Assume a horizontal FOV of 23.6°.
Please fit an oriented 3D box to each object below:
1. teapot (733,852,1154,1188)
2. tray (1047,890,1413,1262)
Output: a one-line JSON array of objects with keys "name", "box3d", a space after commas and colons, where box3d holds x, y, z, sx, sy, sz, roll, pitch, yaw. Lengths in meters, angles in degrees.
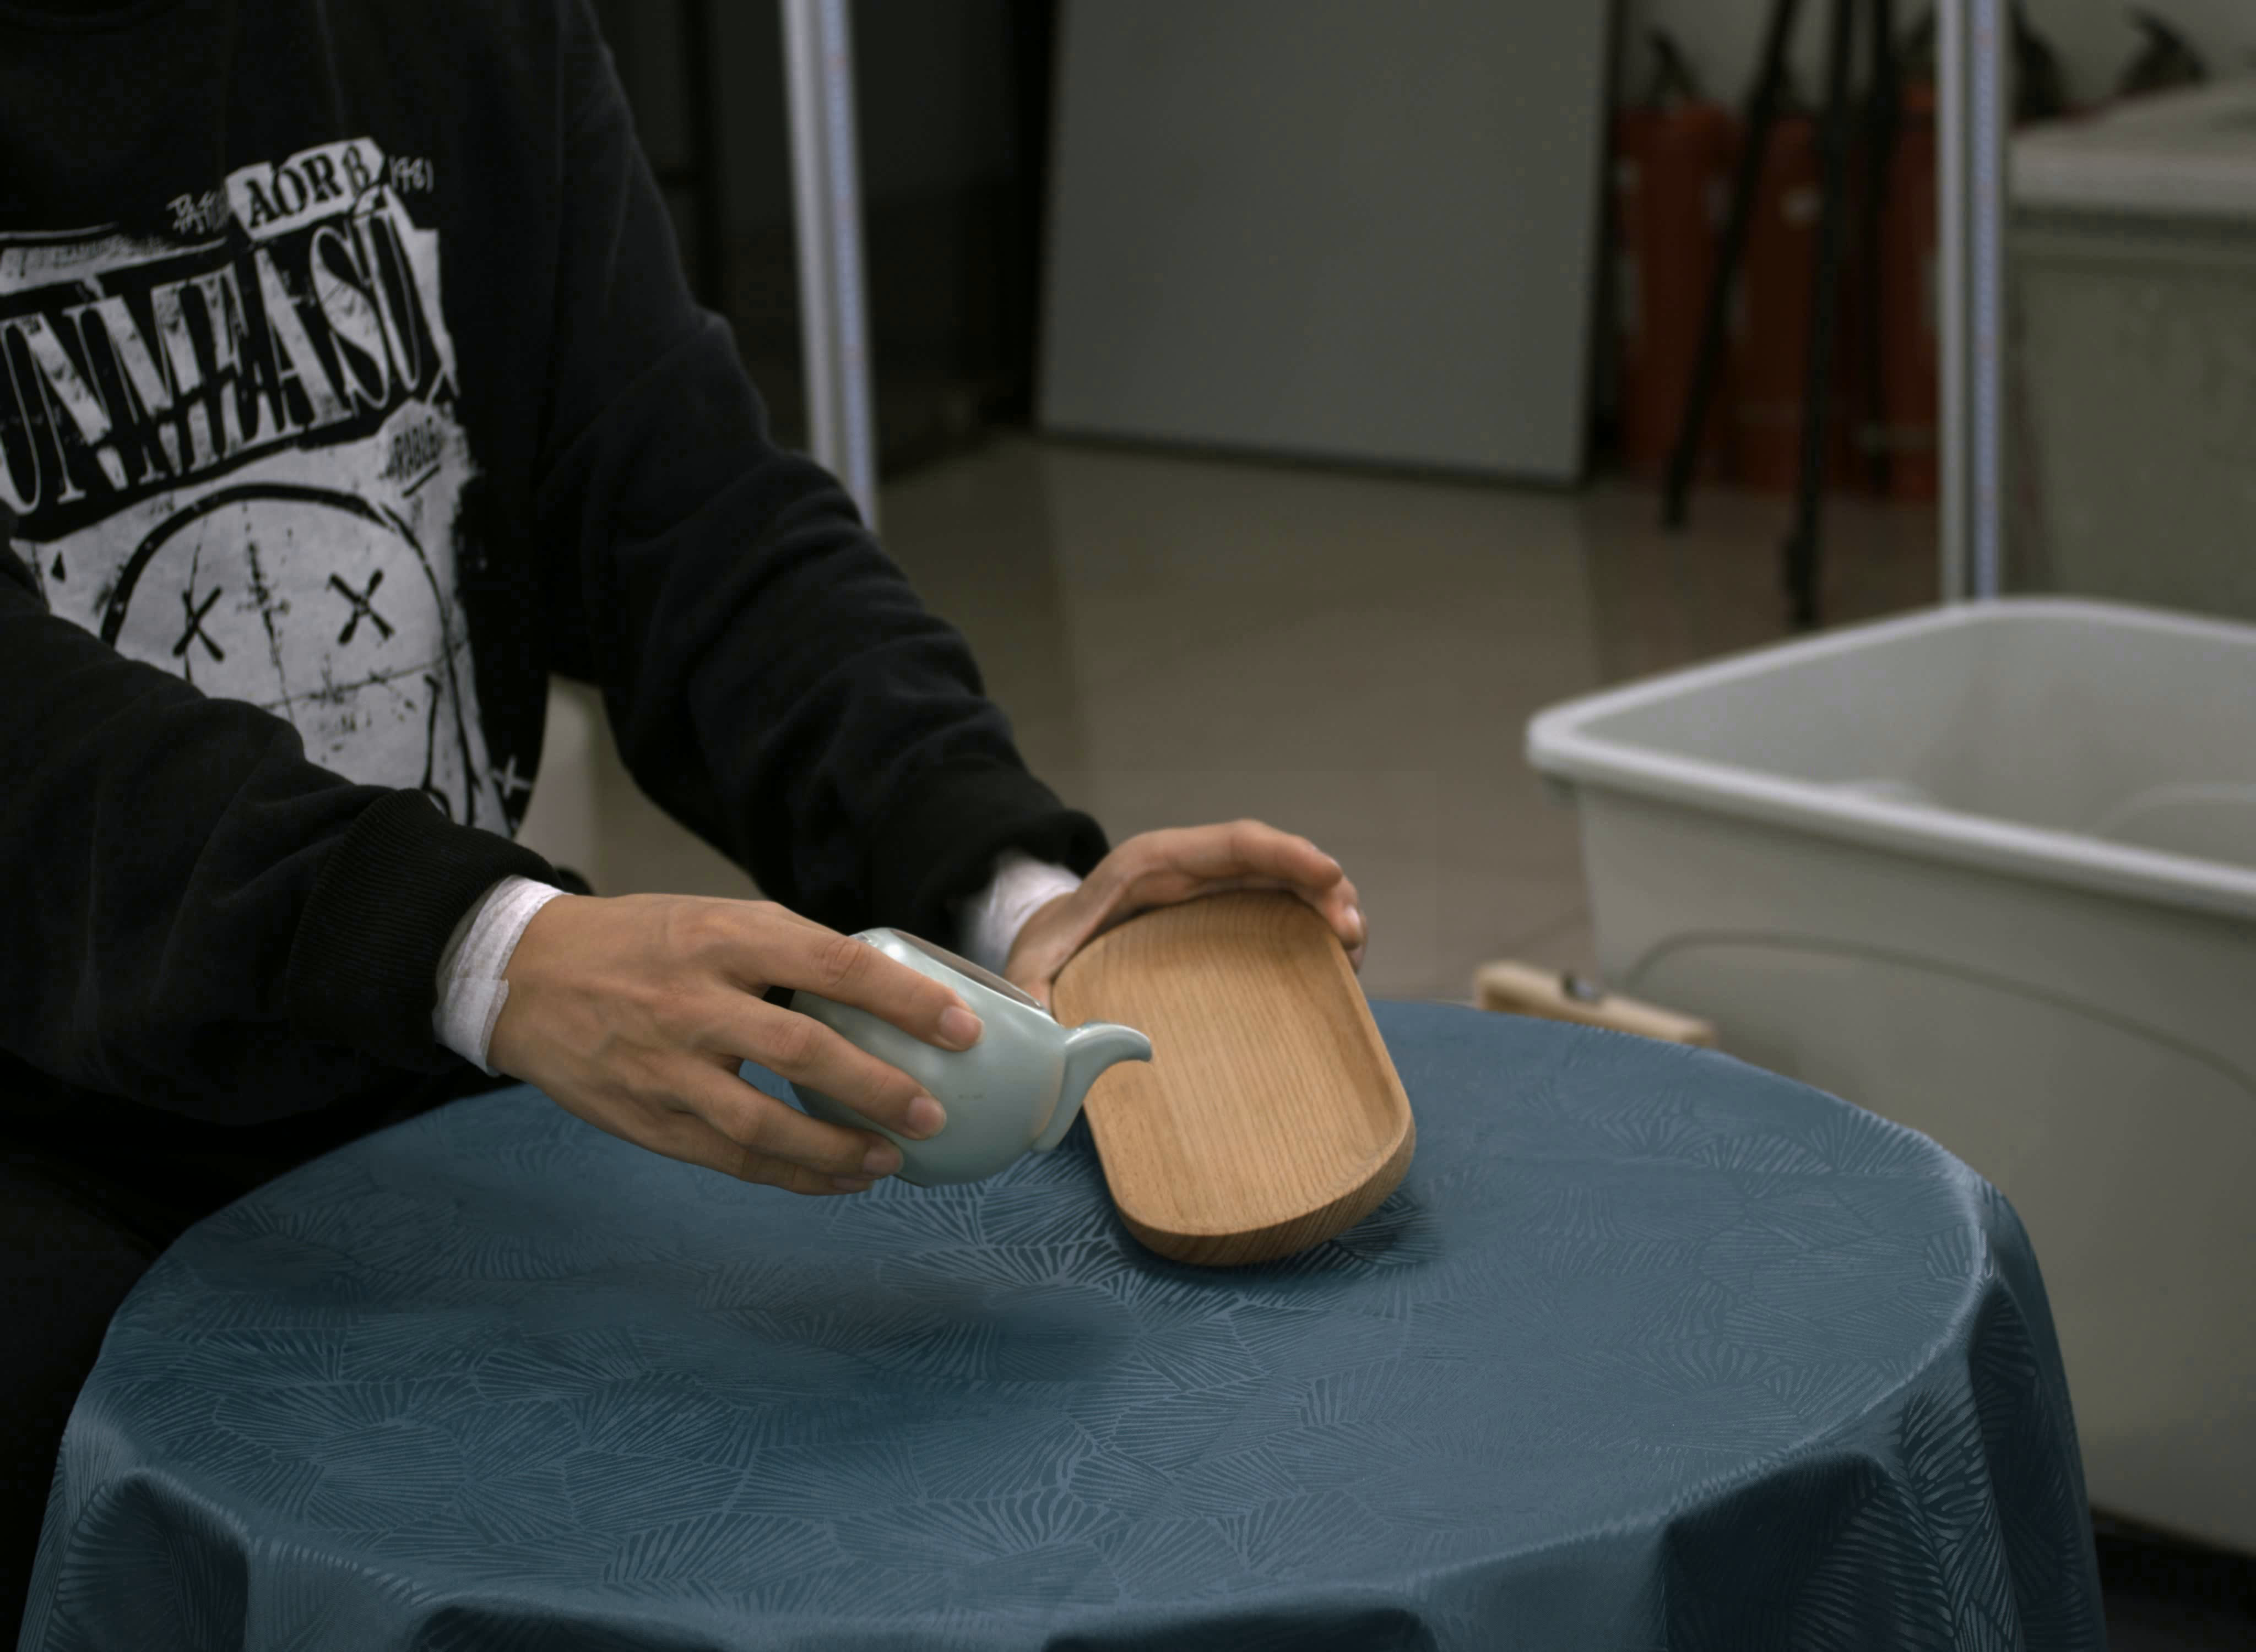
[{"name": "teapot", "box3d": [-0.064, 0.069, 1.657, 0.141, 0.075, 0.089, 28, 1, -21]}, {"name": "tray", "box3d": [0.033, 0.080, 1.782, 0.100, 0.020, 0.233, -18, 24, -2]}]
